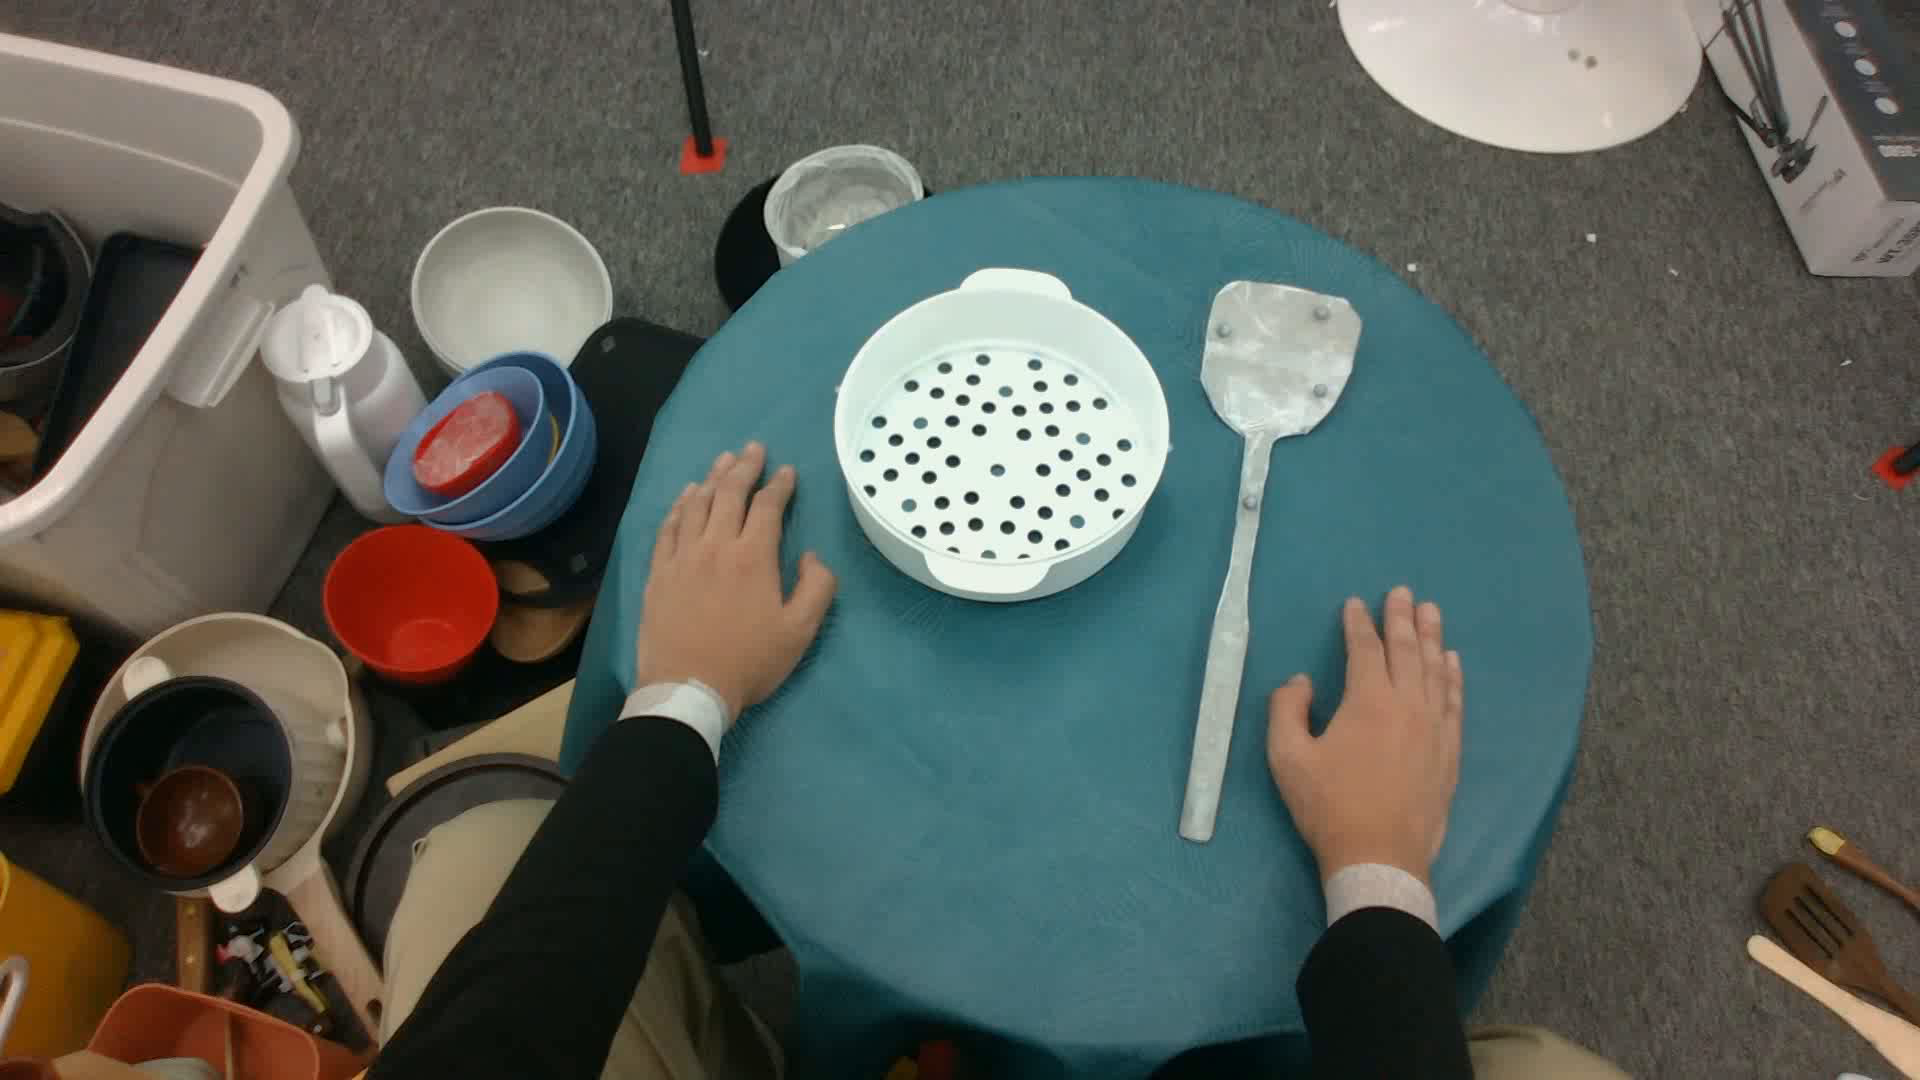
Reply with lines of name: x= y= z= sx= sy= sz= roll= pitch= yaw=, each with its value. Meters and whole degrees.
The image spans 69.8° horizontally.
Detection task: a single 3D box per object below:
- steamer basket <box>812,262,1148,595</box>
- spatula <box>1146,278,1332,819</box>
steamer basket: x=0.012 y=-0.063 z=0.852 sx=0.202 sy=0.069 sz=0.231 roll=6 pitch=62 yaw=2
spatula: x=0.159 y=-0.005 z=0.845 sx=0.098 sy=0.044 sz=0.366 roll=14 pitch=62 yaw=3
